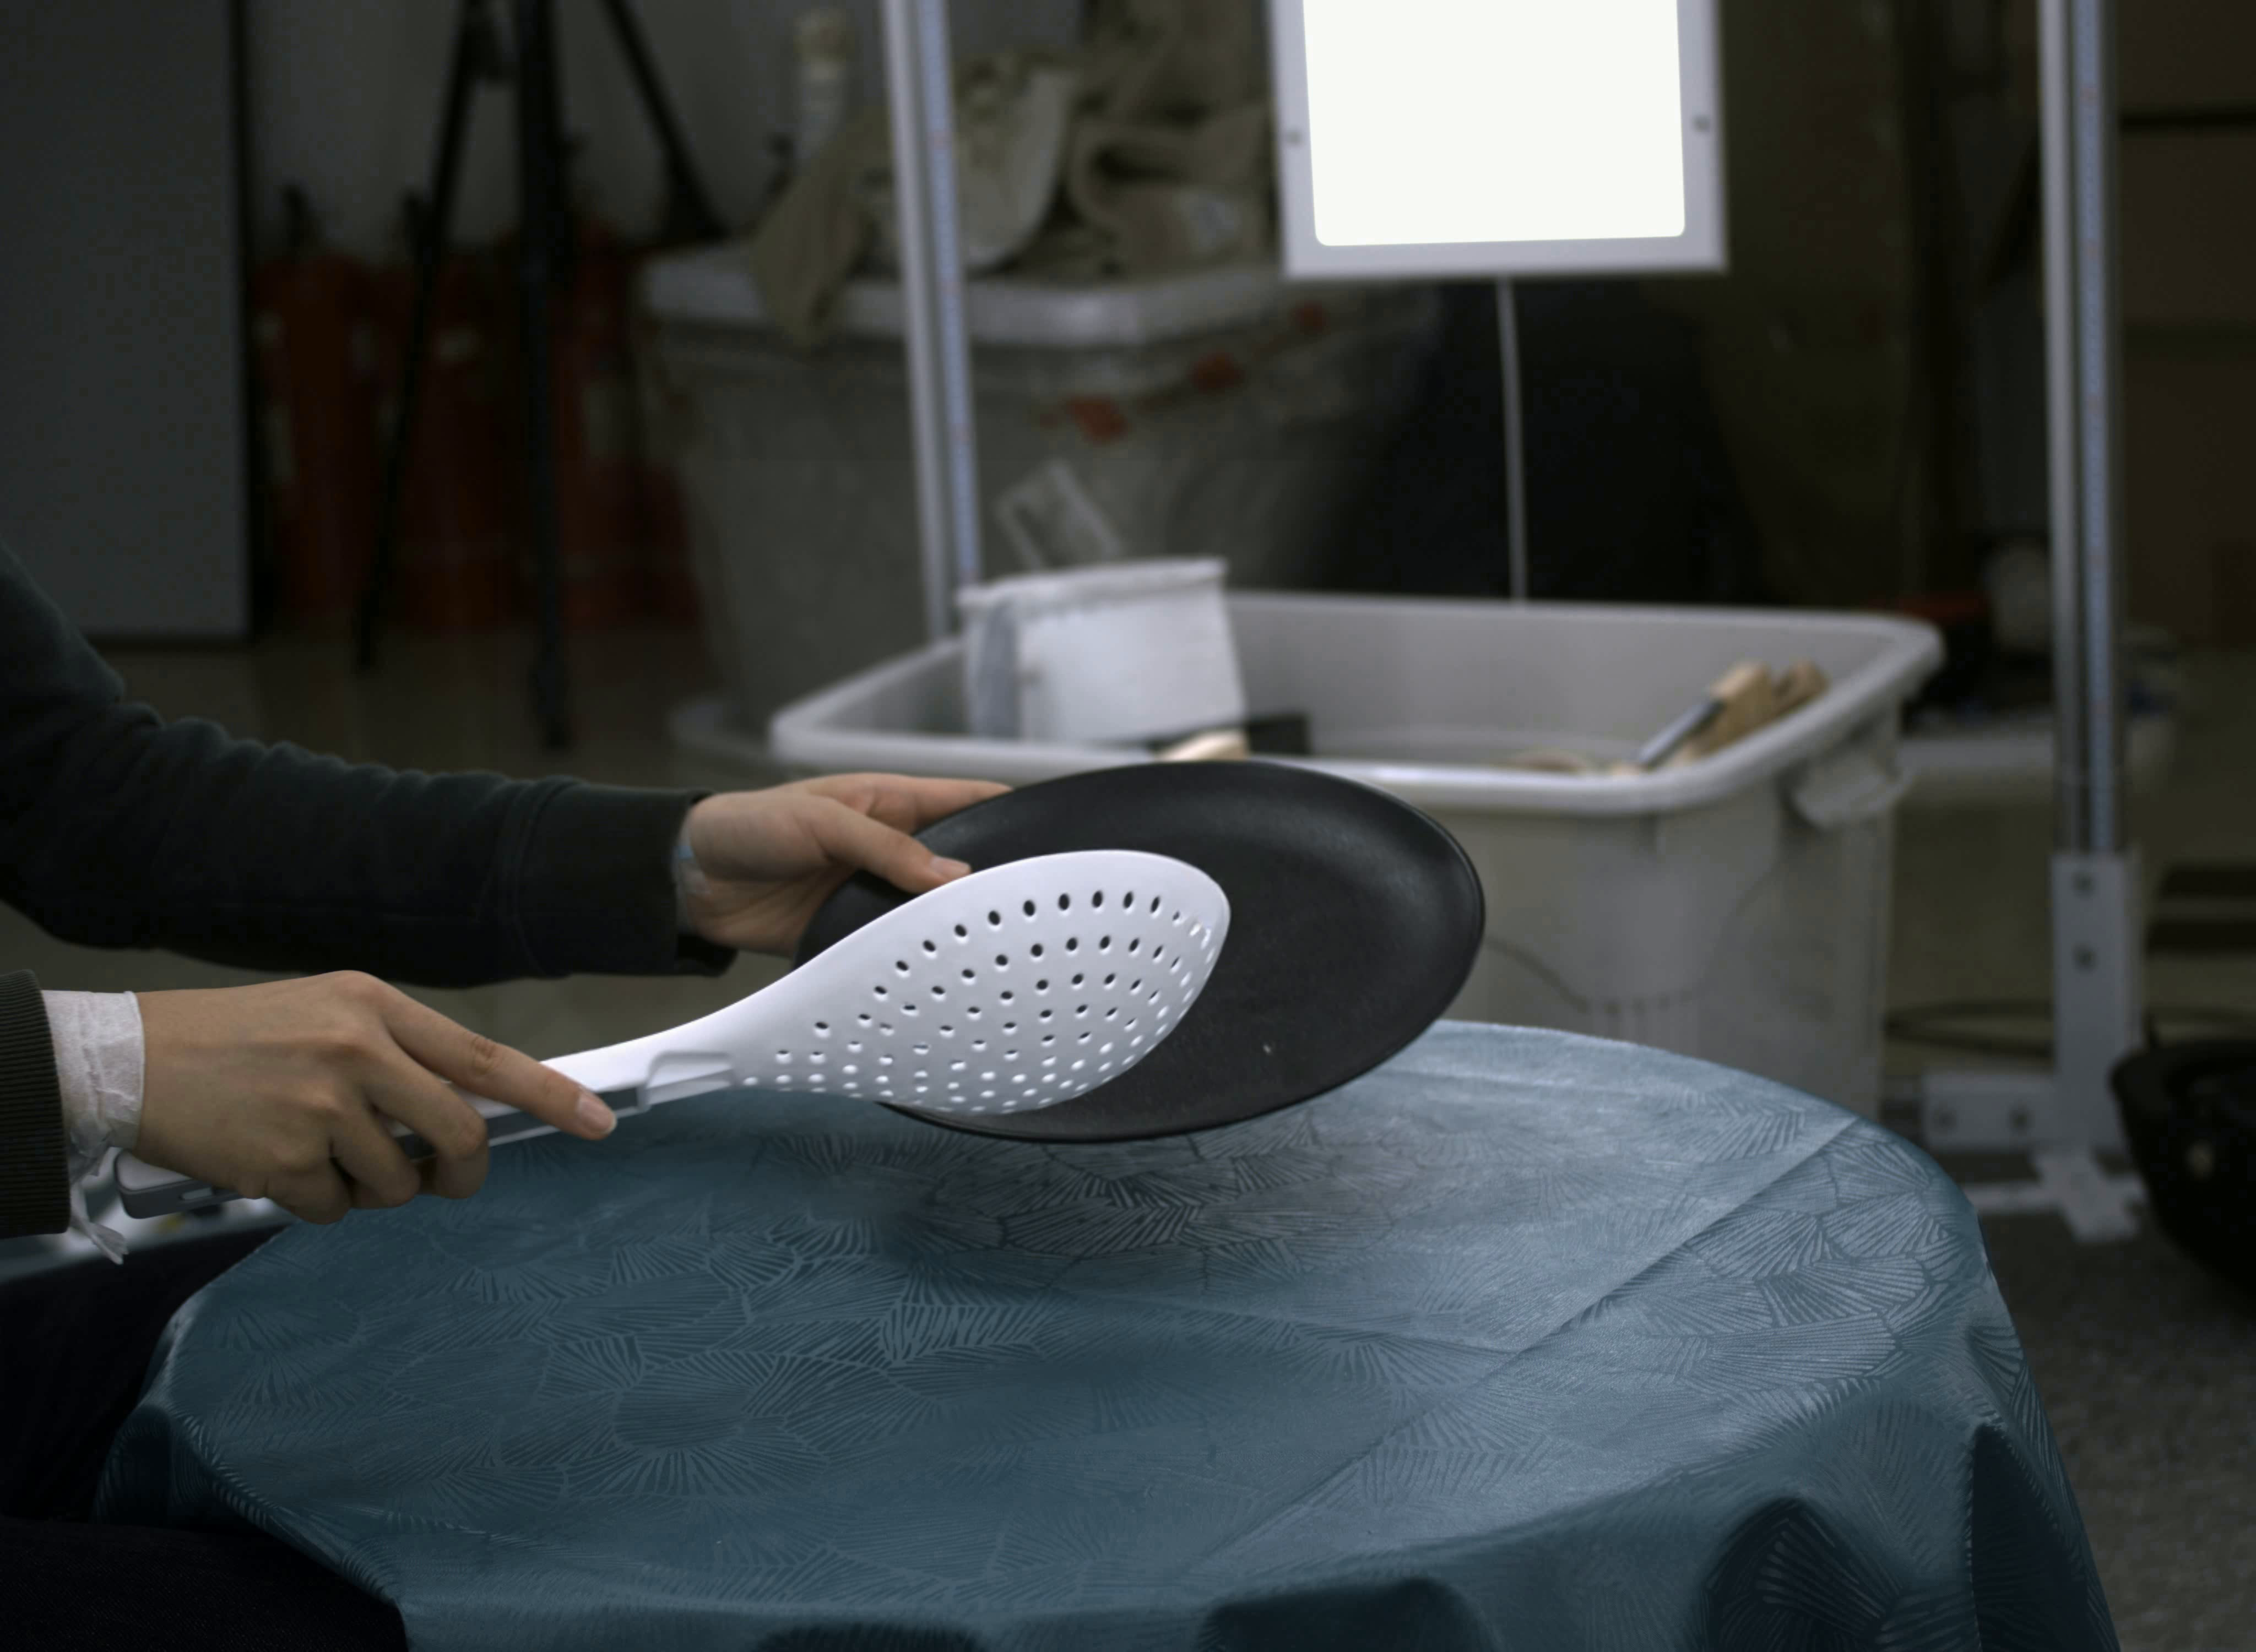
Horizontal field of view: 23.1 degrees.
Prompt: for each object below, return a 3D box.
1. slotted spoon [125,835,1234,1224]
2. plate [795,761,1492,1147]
[{"bbox_3d":[-0.134,0.071,1.693,0.347,0.046,0.136,-9,-31,-4],"label":"slotted spoon"},{"bbox_3d":[0.006,0.049,1.902,0.244,0.023,0.244,-8,31,3],"label":"plate"}]
